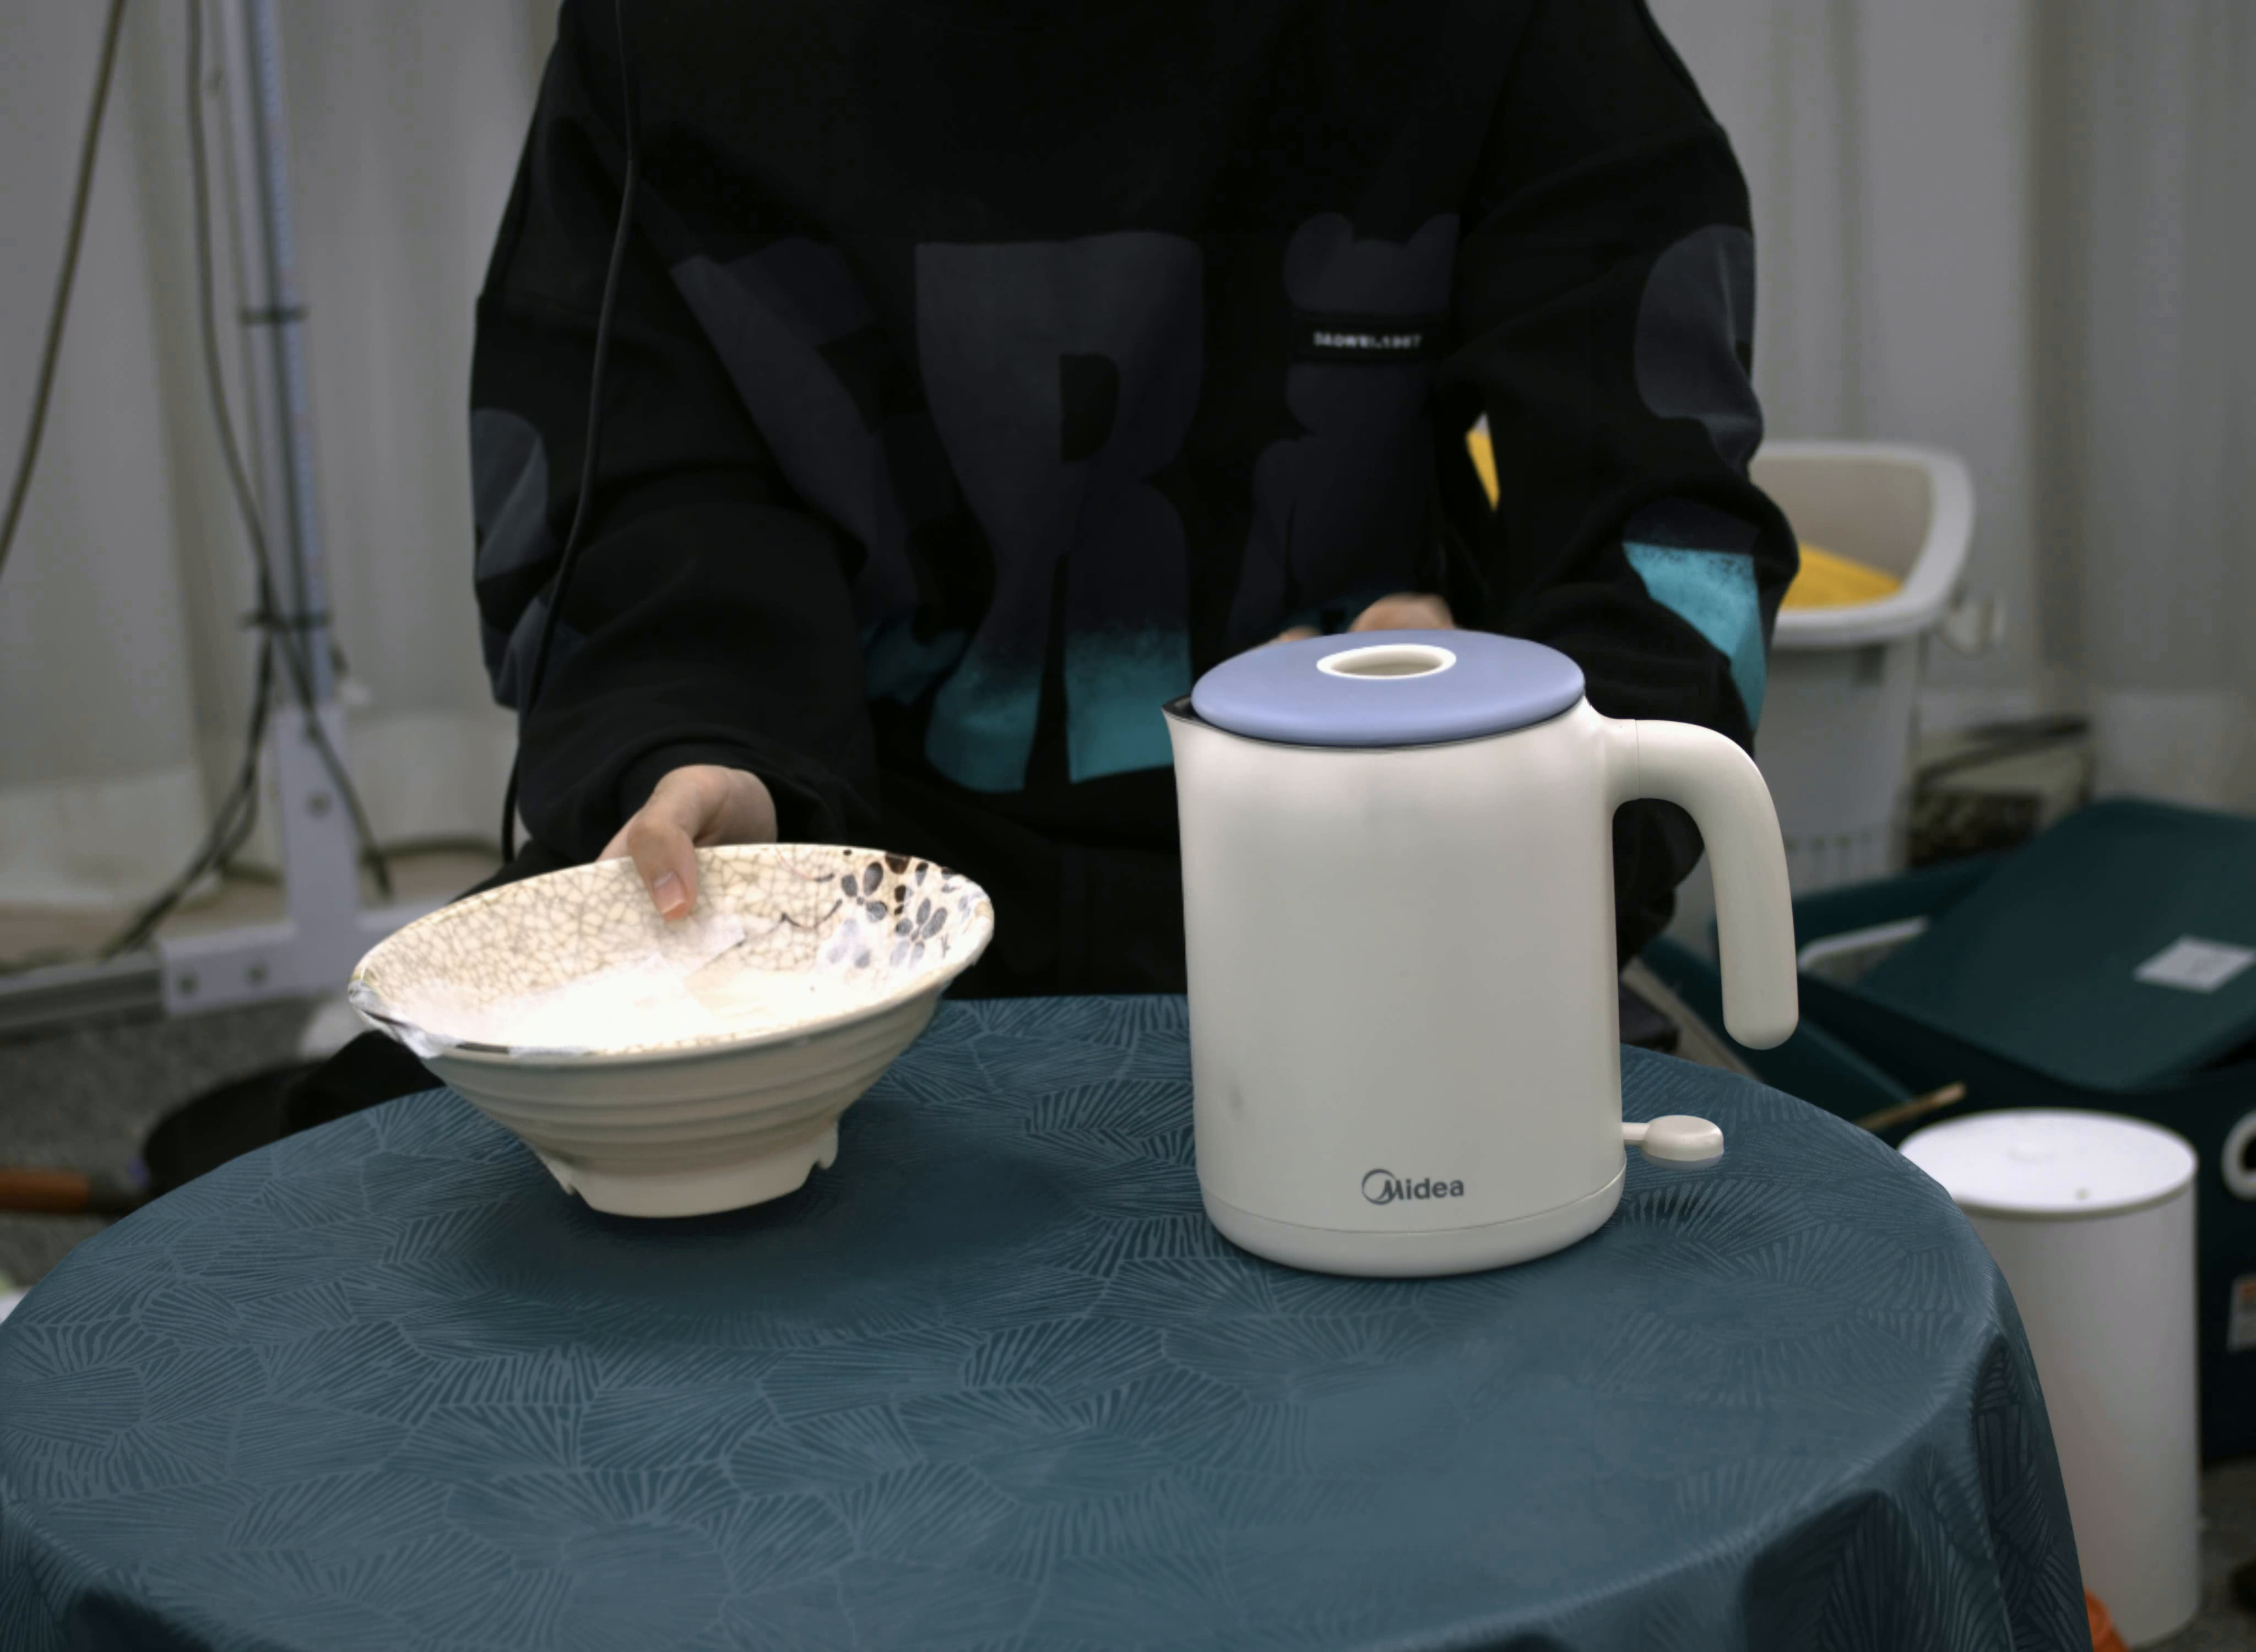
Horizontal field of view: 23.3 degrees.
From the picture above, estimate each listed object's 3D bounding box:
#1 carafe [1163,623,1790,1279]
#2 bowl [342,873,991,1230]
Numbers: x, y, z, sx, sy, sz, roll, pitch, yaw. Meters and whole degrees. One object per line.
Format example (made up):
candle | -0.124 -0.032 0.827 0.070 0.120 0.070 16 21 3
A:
carafe | 0.106 0.036 1.658 0.190 0.182 0.133 -1 15 0
bowl | -0.141 0.077 1.718 0.203 0.078 0.205 -4 13 1
